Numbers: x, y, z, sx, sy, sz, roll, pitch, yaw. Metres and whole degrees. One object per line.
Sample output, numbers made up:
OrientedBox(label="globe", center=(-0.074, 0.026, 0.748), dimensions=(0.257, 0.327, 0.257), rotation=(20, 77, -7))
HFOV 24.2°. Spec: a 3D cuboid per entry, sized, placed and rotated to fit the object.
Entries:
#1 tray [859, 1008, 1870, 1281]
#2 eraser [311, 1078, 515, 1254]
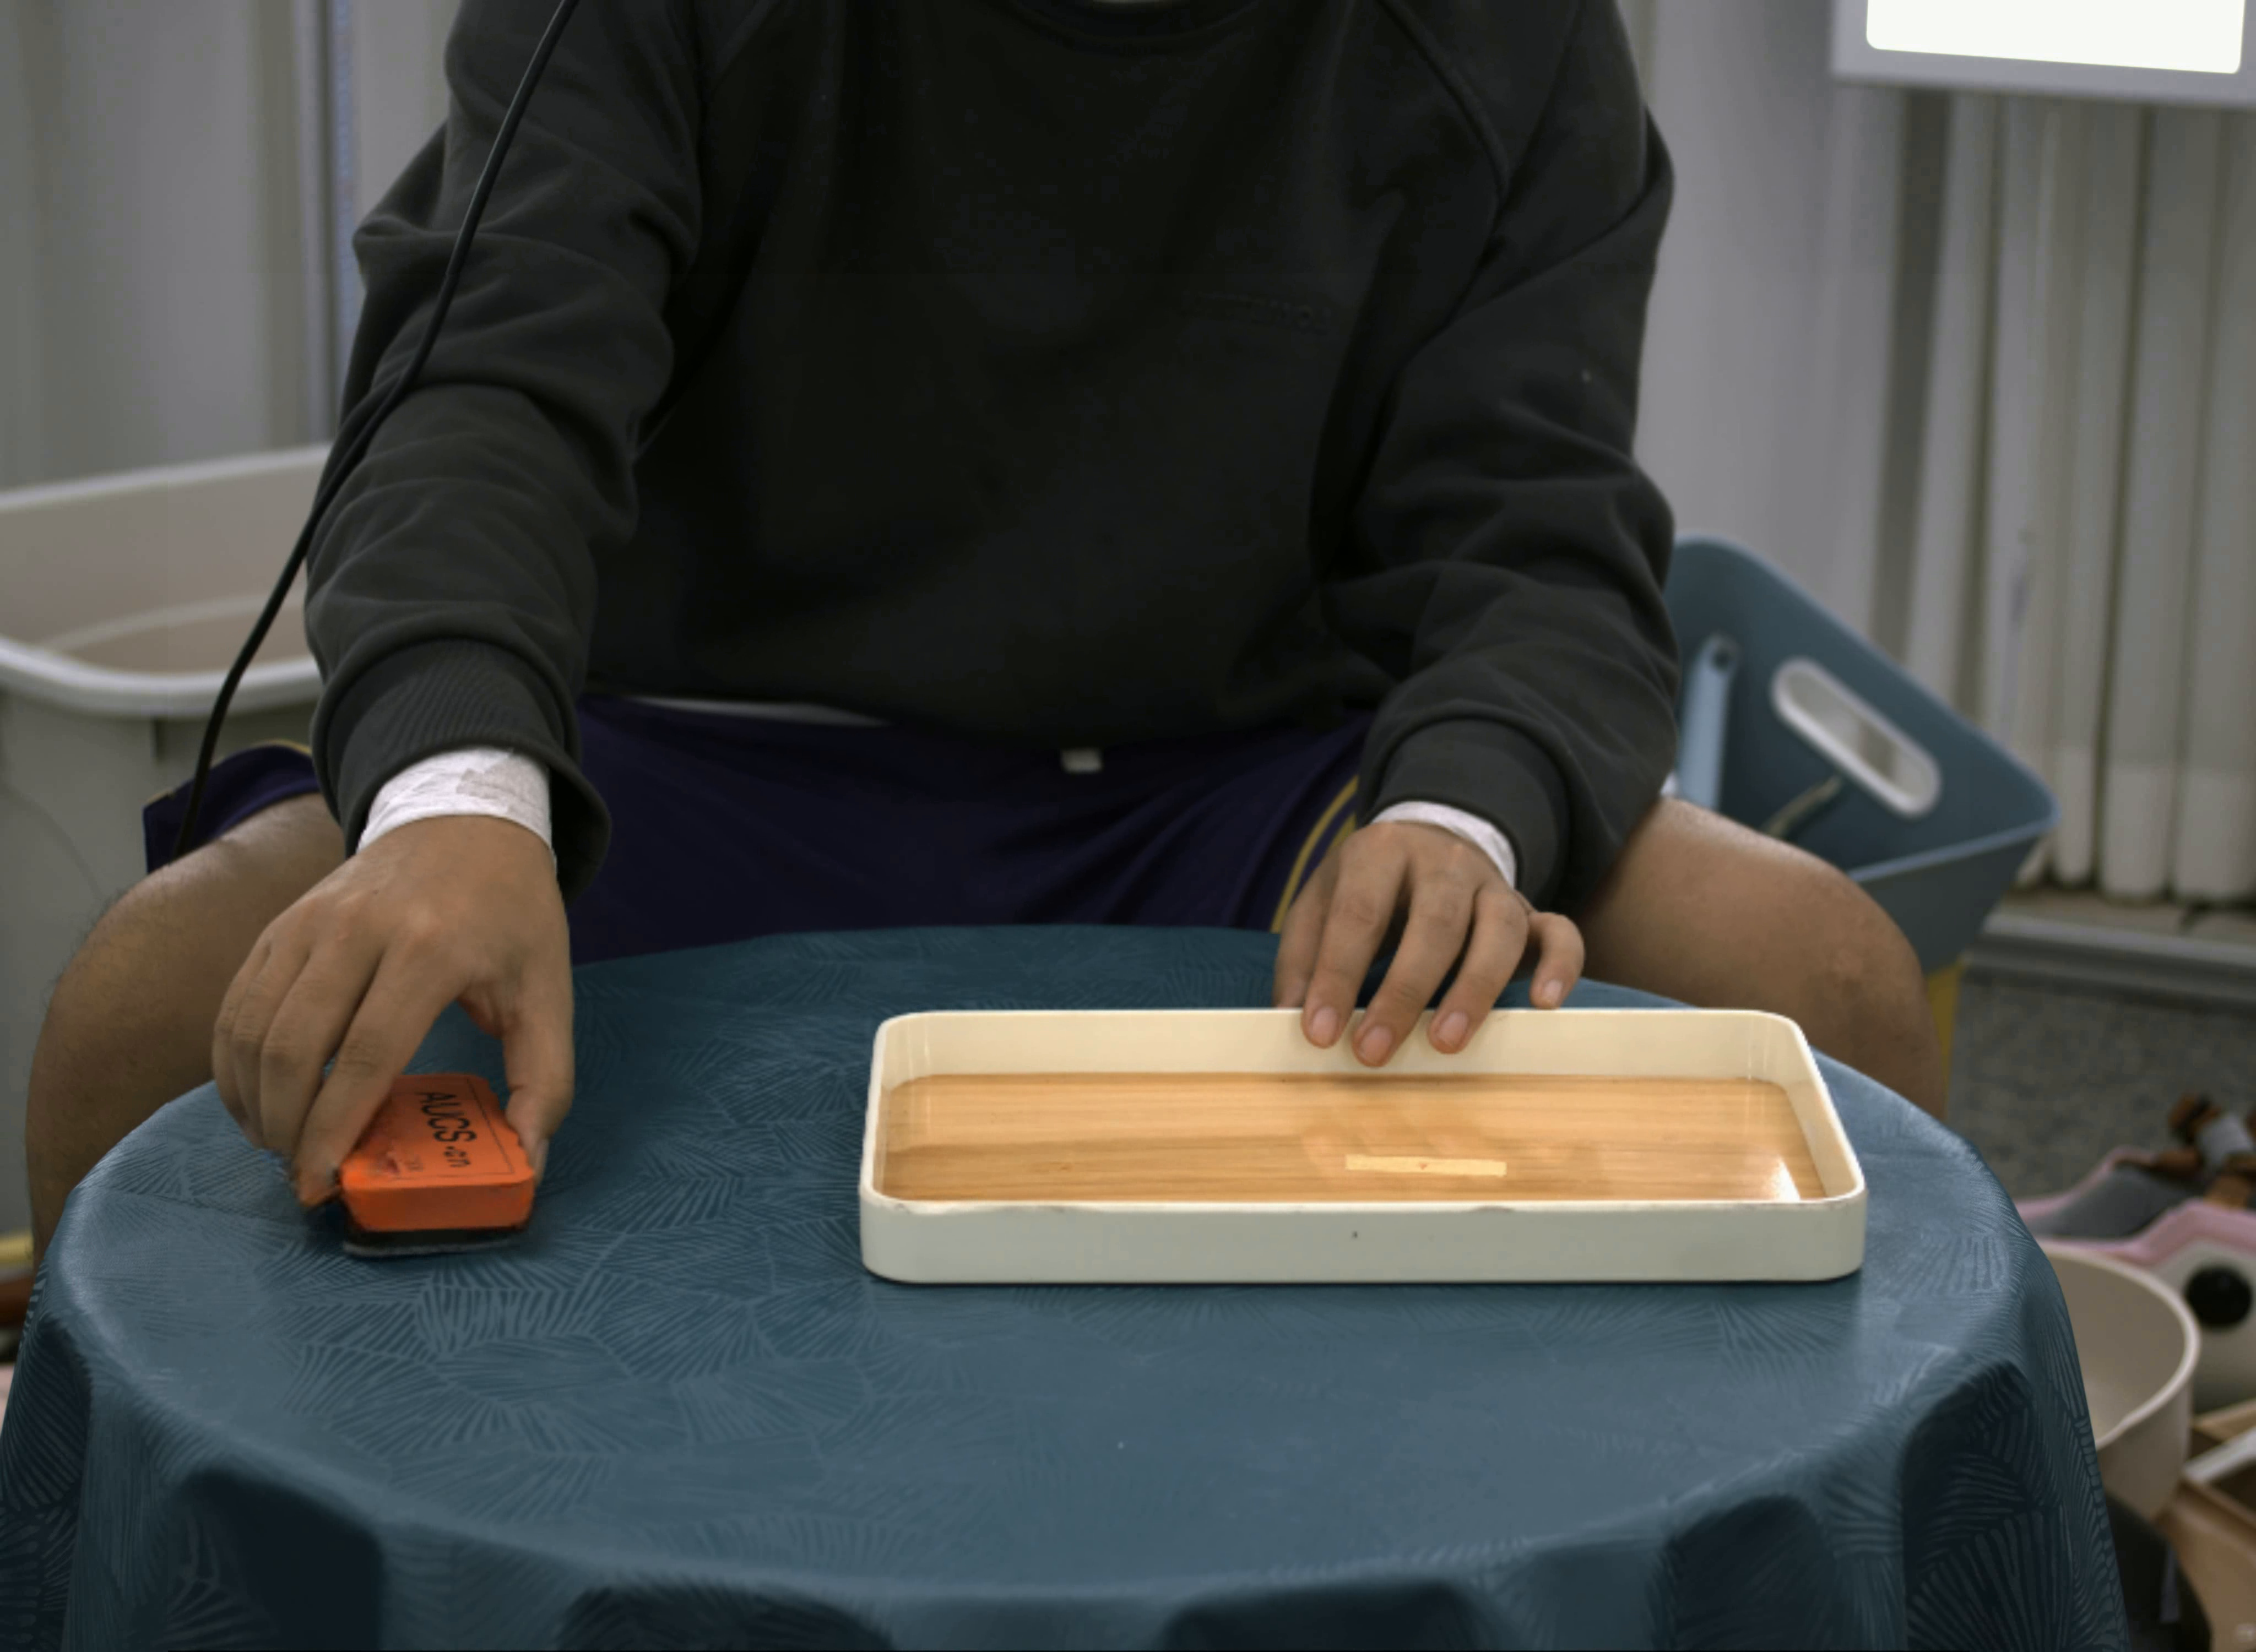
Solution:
OrientedBox(label="tray", center=(0.069, 0.097, 1.629), dimensions=(0.299, 0.027, 0.190), rotation=(0, 16, -1))
OrientedBox(label="eraser", center=(-0.218, 0.103, 1.606), dimensions=(0.059, 0.023, 0.107), rotation=(-2, 14, -11))
